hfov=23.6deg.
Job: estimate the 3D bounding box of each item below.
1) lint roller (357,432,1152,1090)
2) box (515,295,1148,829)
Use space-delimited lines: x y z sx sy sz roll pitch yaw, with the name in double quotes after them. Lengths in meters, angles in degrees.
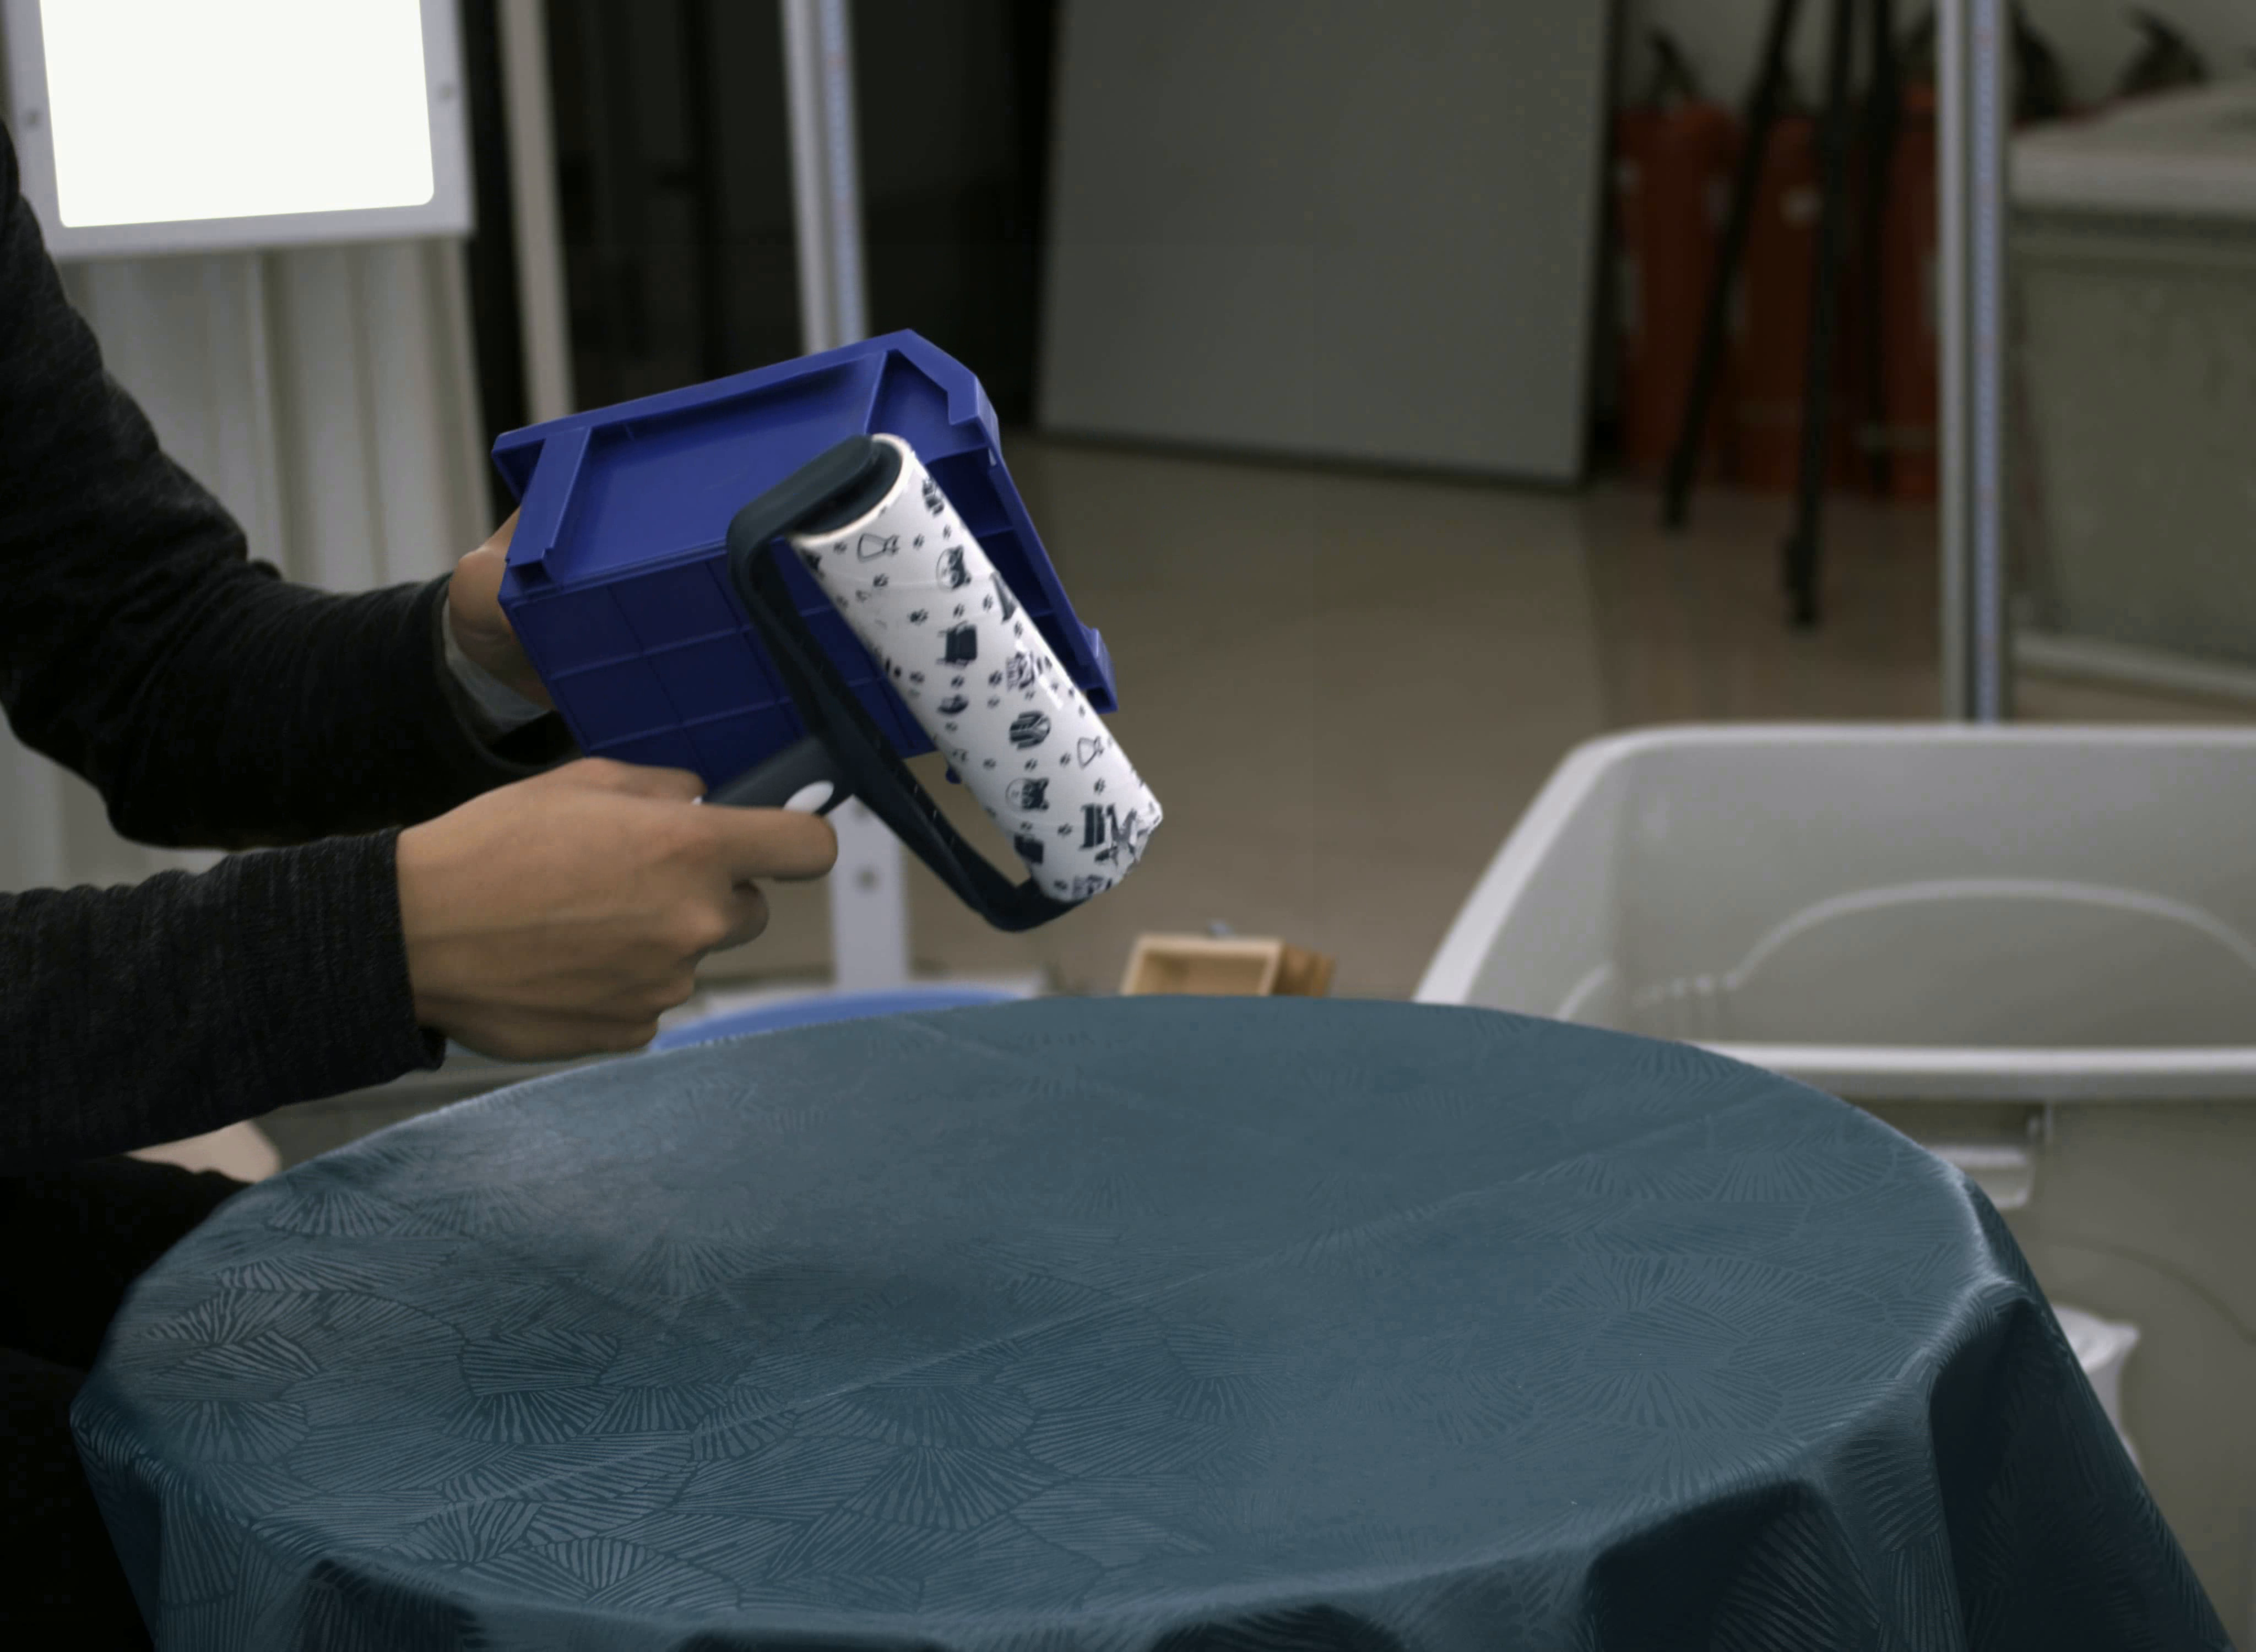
-0.130 0.011 1.652 0.246 0.175 0.051 -35 33 4 "lint roller"
-0.095 -0.081 1.715 0.179 0.124 0.082 -16 34 18 "box"
